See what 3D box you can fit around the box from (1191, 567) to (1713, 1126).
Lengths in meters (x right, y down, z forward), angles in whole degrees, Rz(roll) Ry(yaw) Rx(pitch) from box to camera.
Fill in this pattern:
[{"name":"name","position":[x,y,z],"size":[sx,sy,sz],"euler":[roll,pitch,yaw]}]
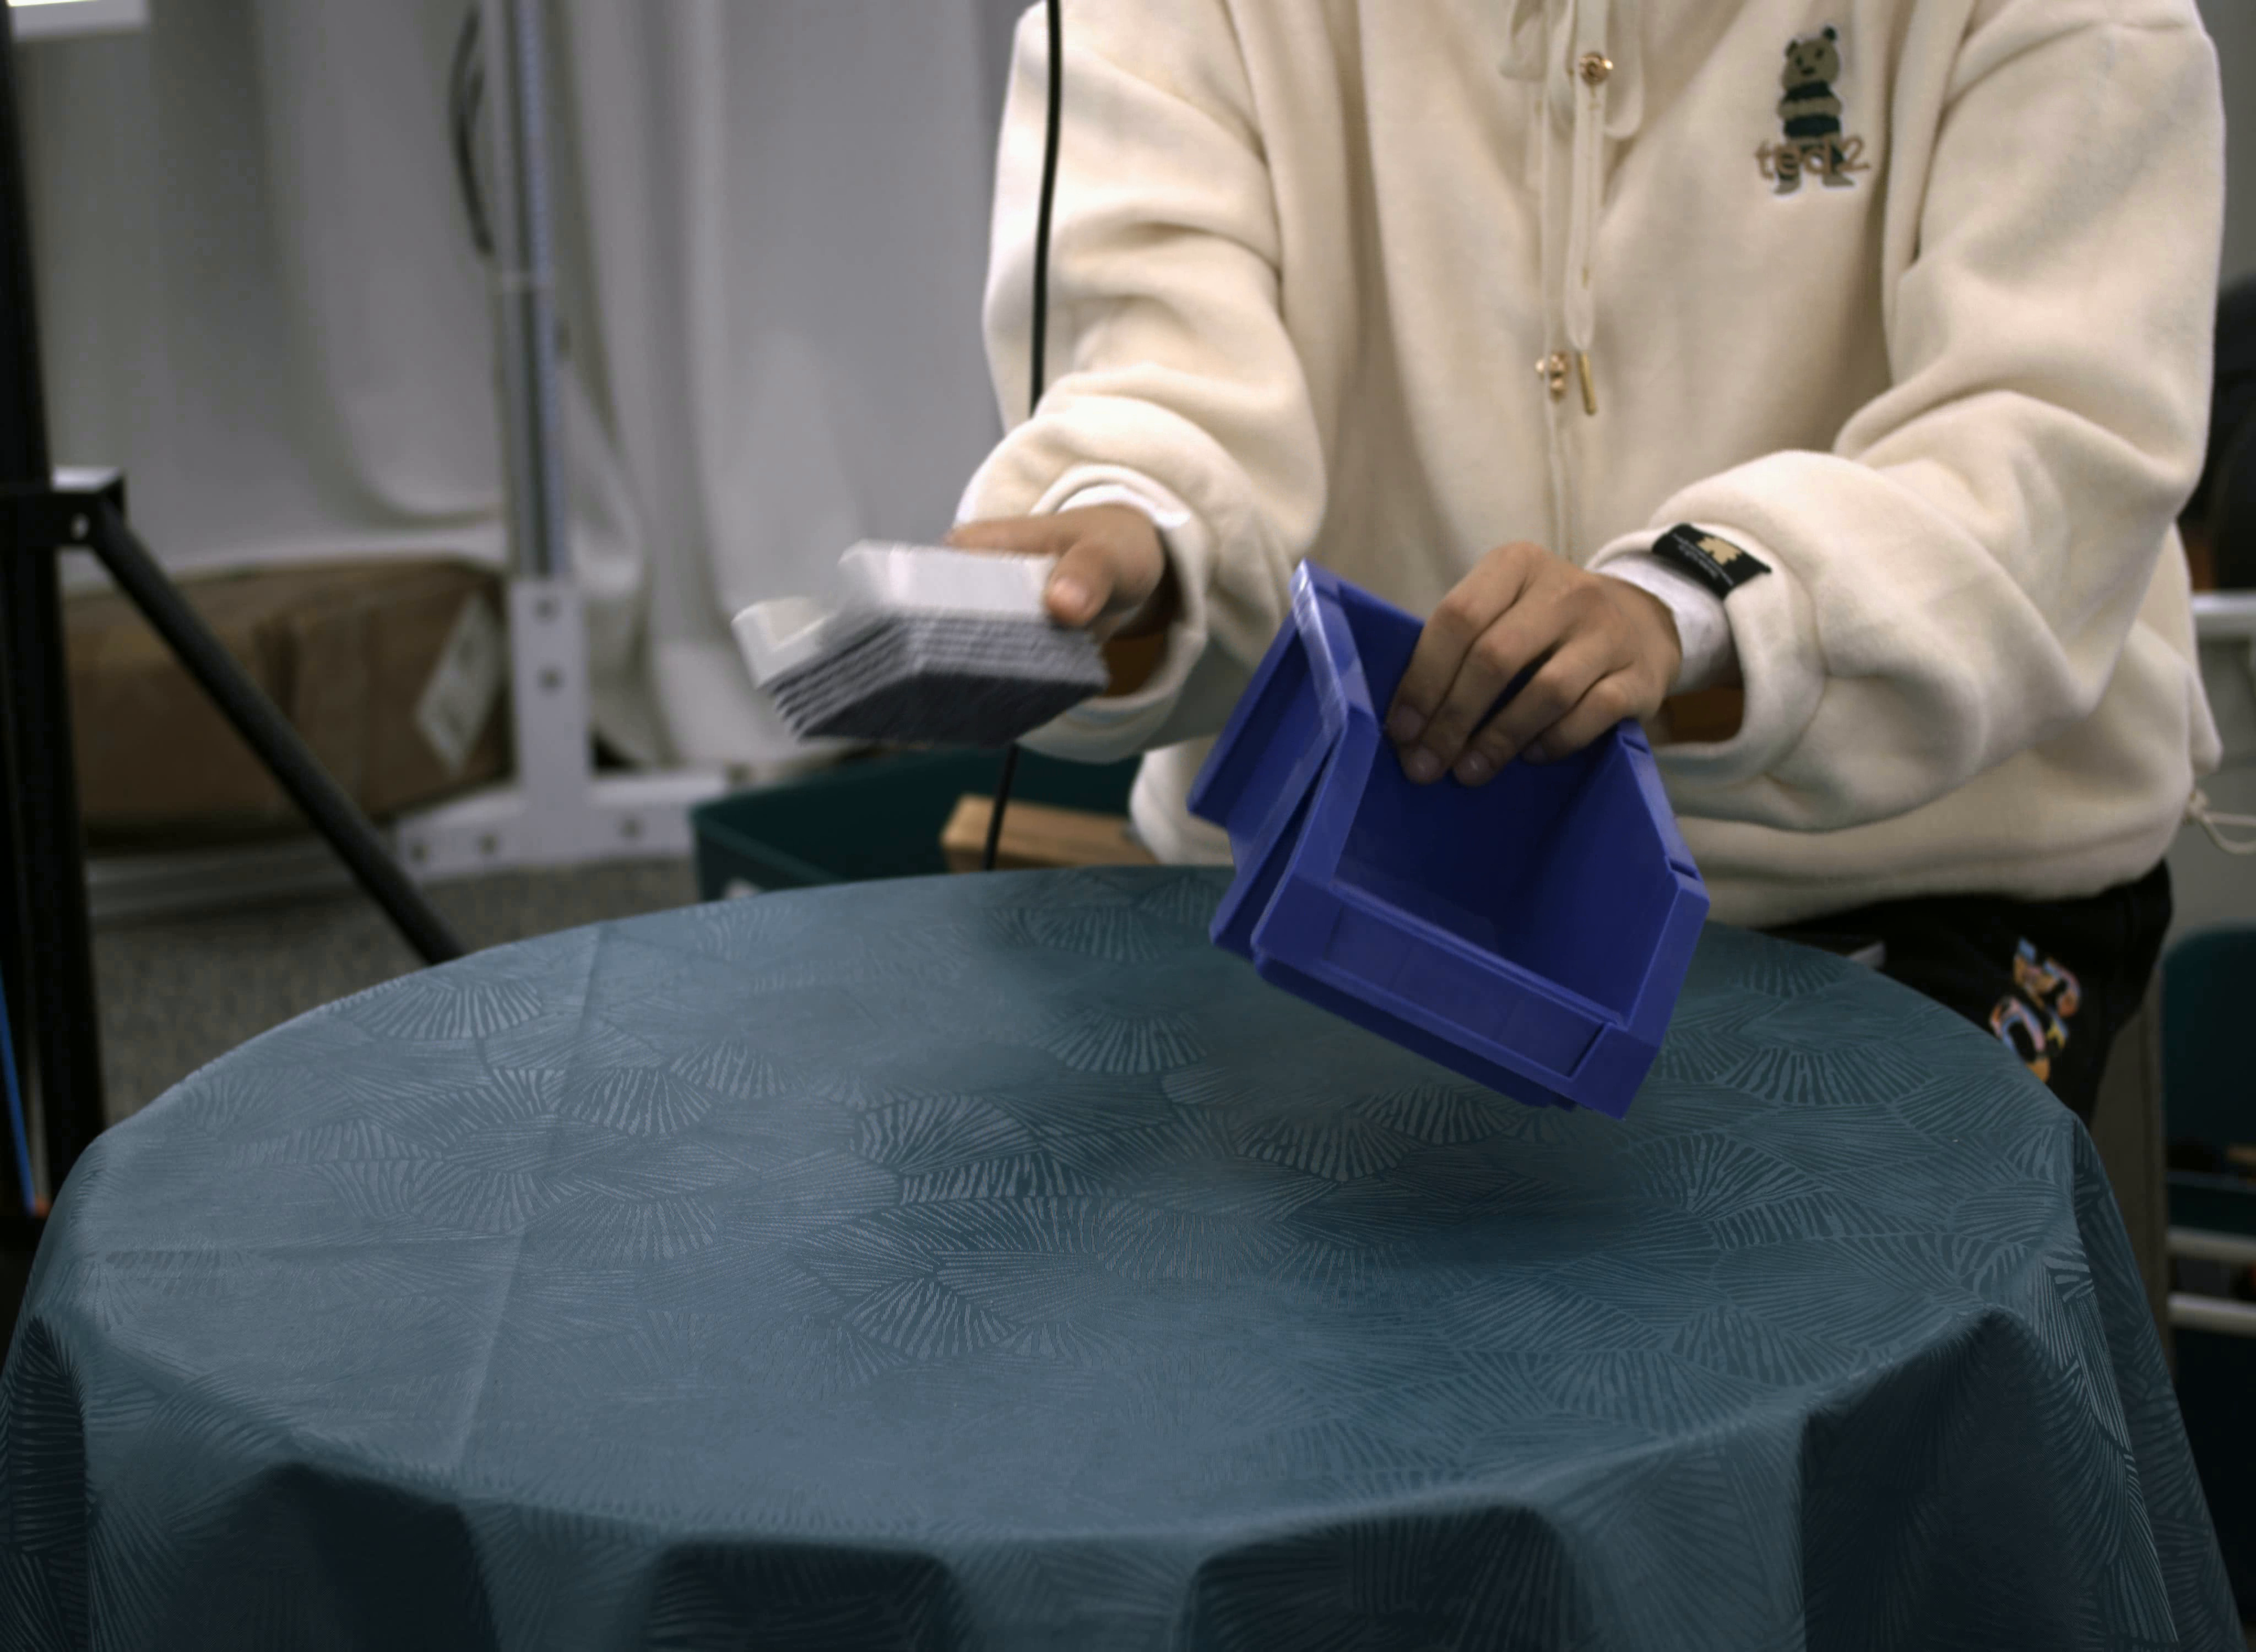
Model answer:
[{"name":"box","position":[0.095,0.011,1.551],"size":[0.123,0.082,0.180],"euler":[27,15,-11]}]

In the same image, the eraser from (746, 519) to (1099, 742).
[{"name":"eraser","position":[-0.058,-0.057,1.597],"size":[0.050,0.047,0.132],"euler":[-31,-13,19]}]
